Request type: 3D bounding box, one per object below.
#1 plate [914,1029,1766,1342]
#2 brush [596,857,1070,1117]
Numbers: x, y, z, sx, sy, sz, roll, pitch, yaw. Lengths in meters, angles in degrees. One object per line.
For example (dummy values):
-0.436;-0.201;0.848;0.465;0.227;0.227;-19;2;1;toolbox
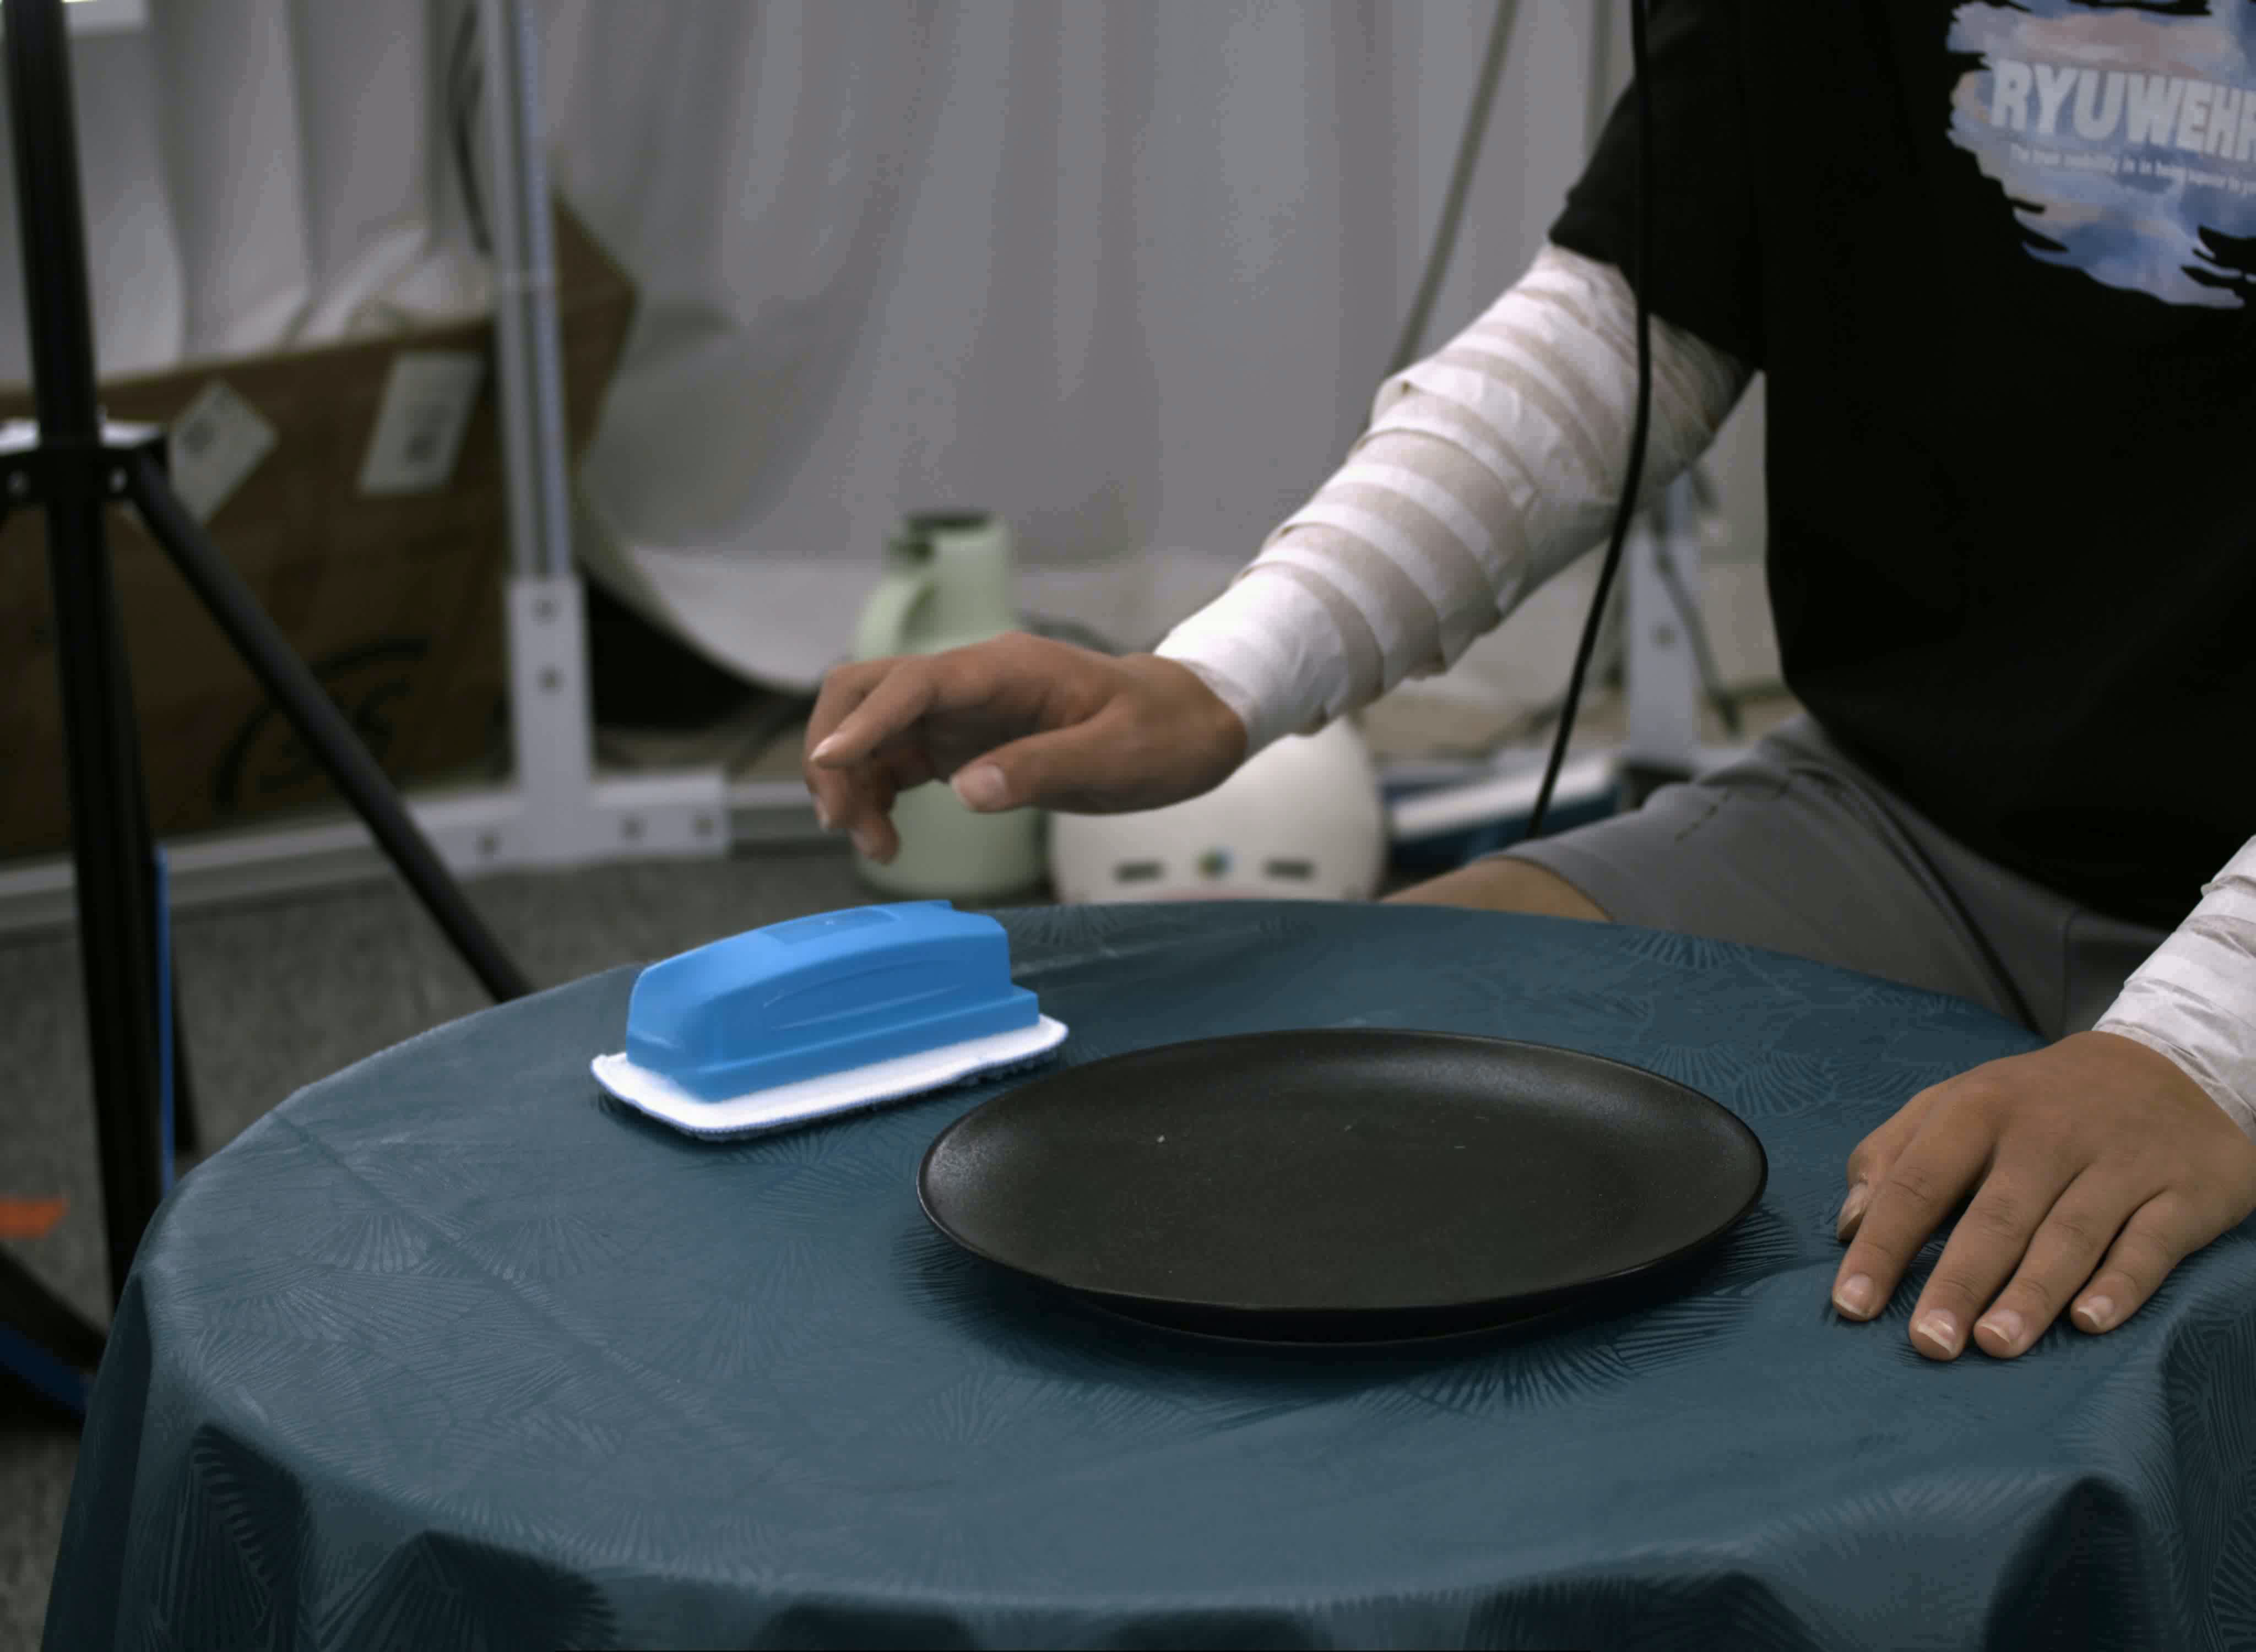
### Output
0.061;0.105;1.516;0.243;0.023;0.245;-3;16;-1;plate
-0.092;0.047;1.674;0.141;0.056;0.086;-16;25;-32;brush
